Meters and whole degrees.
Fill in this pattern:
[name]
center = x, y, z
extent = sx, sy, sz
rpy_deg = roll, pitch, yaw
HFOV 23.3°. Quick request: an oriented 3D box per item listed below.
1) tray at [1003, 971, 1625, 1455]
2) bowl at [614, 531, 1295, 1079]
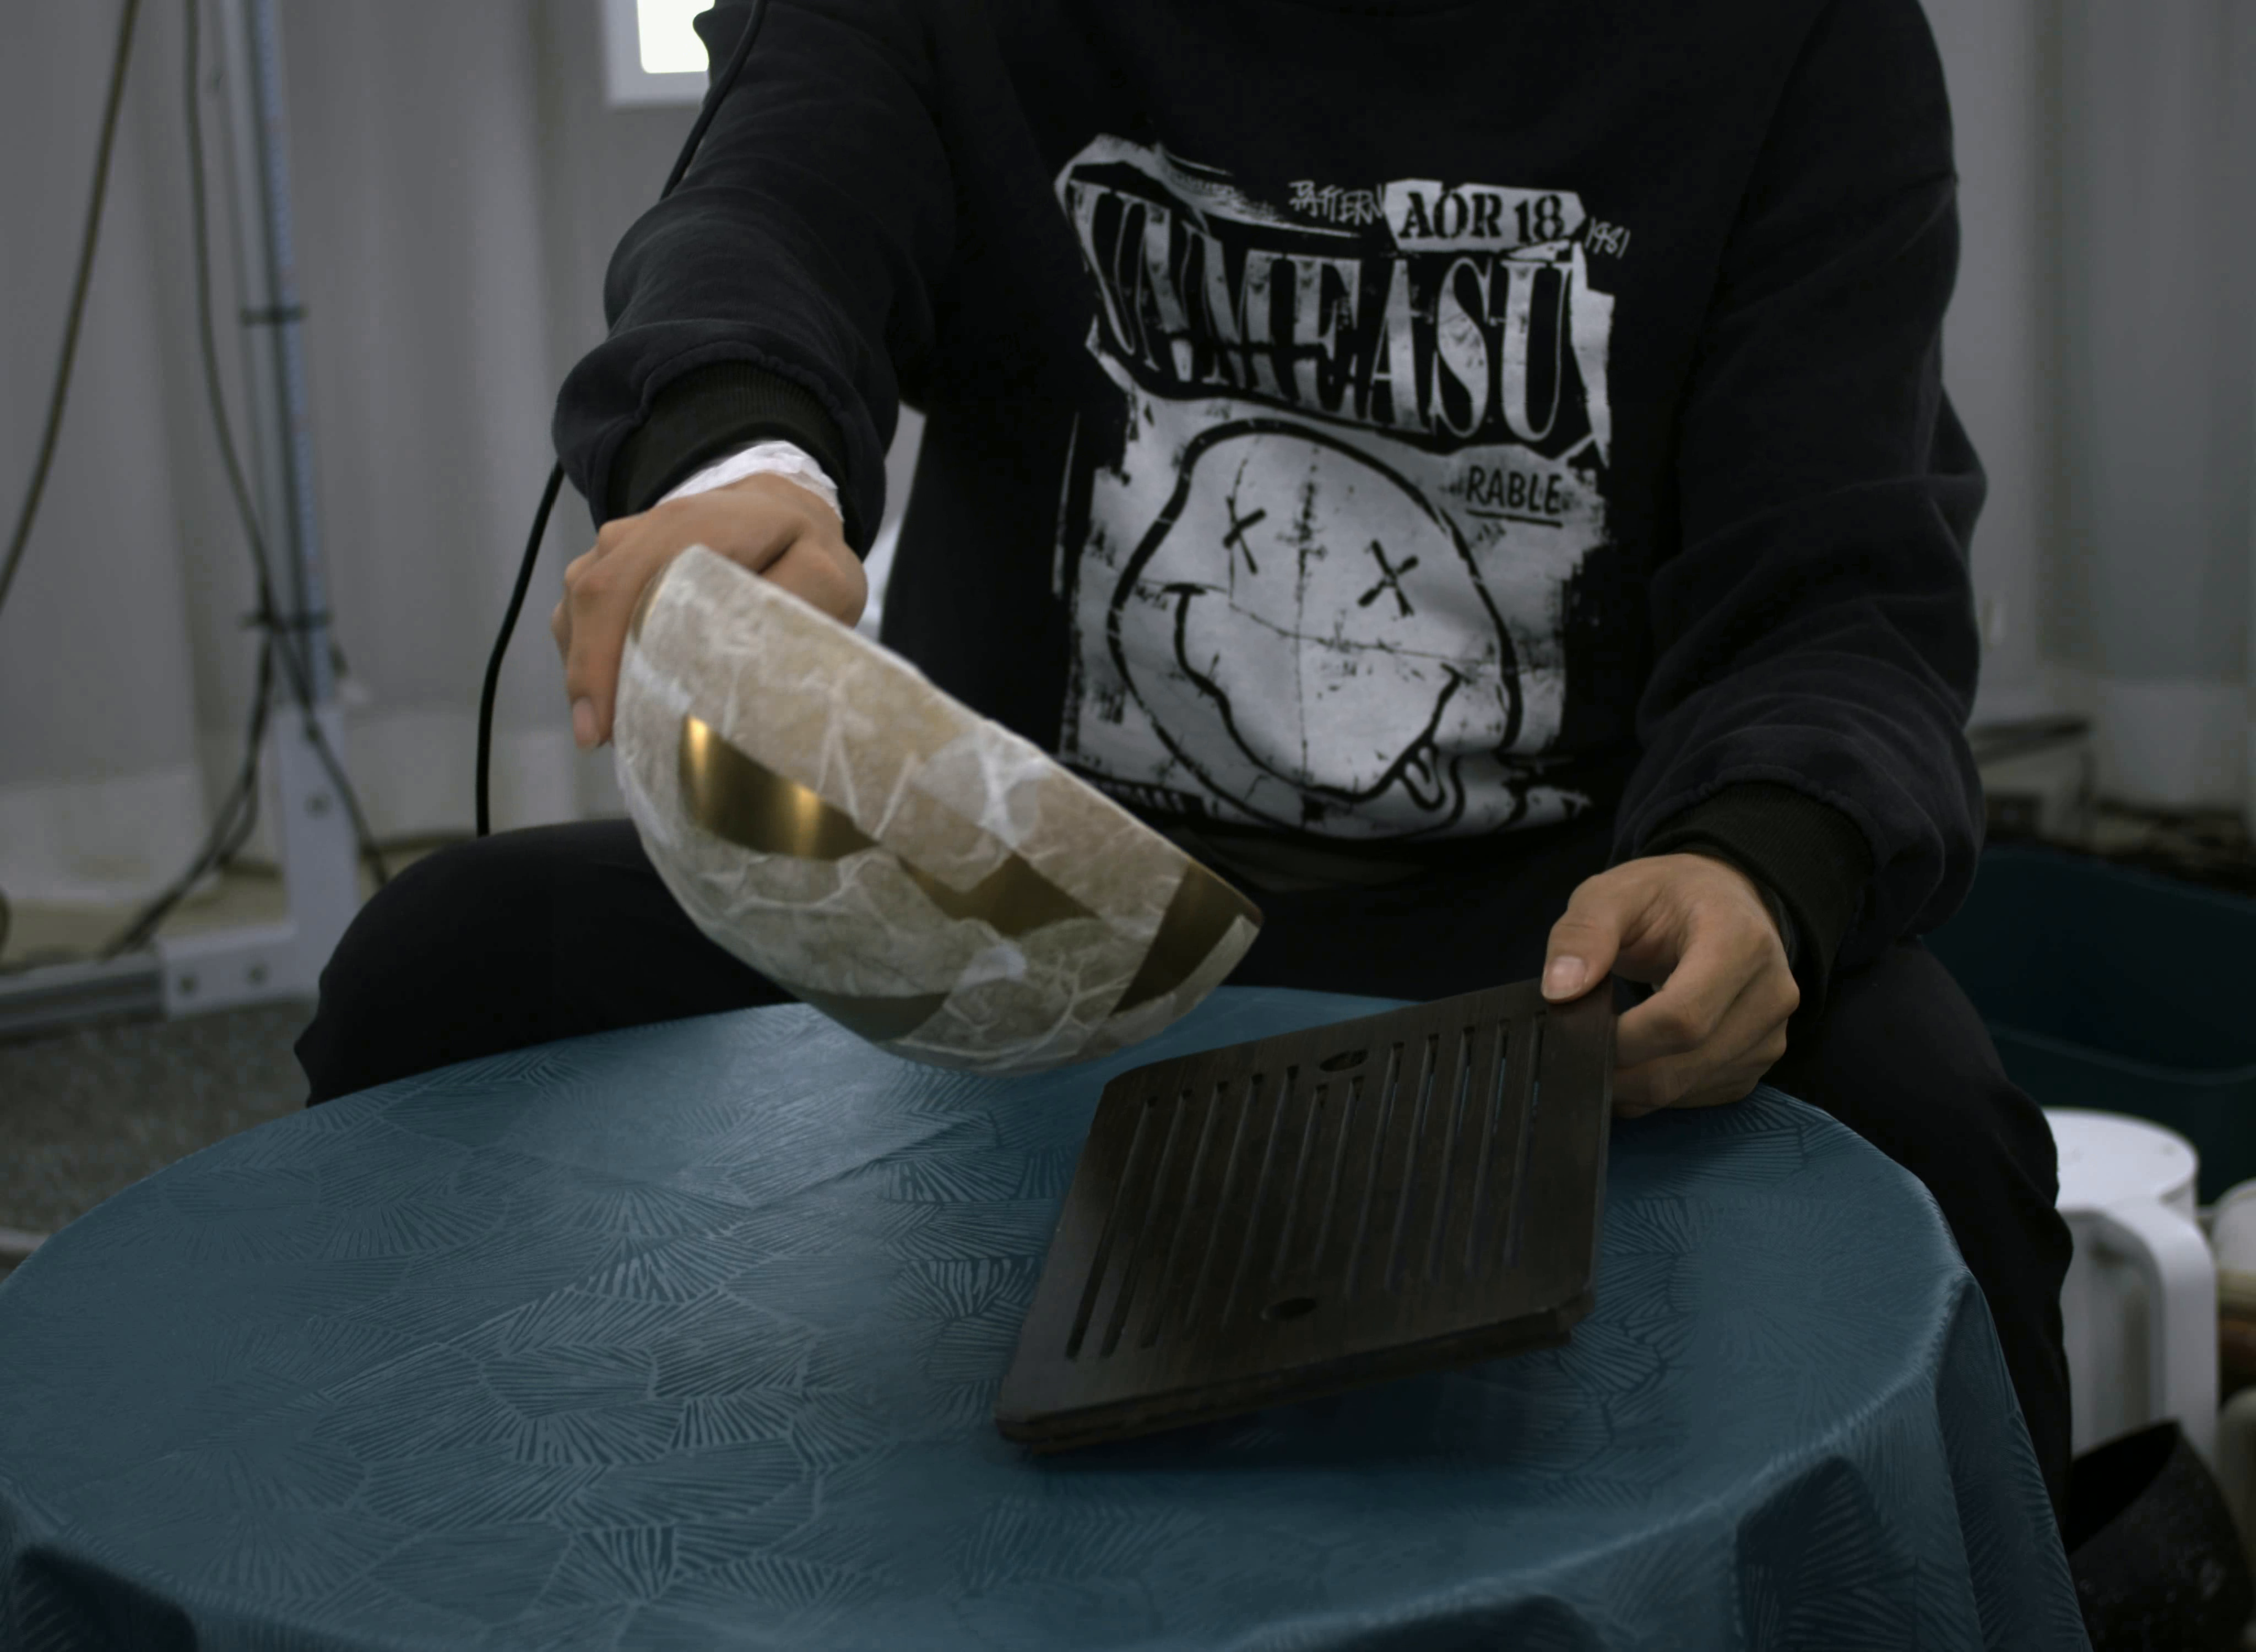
[tray]
center = 0.063, 0.111, 1.614
extent = 0.170, 0.018, 0.308
rpy_deg = -13, 14, 10
[bowl]
center = -0.065, 0.011, 1.540
extent = 0.214, 0.095, 0.214
rpy_deg = 31, -3, 1
